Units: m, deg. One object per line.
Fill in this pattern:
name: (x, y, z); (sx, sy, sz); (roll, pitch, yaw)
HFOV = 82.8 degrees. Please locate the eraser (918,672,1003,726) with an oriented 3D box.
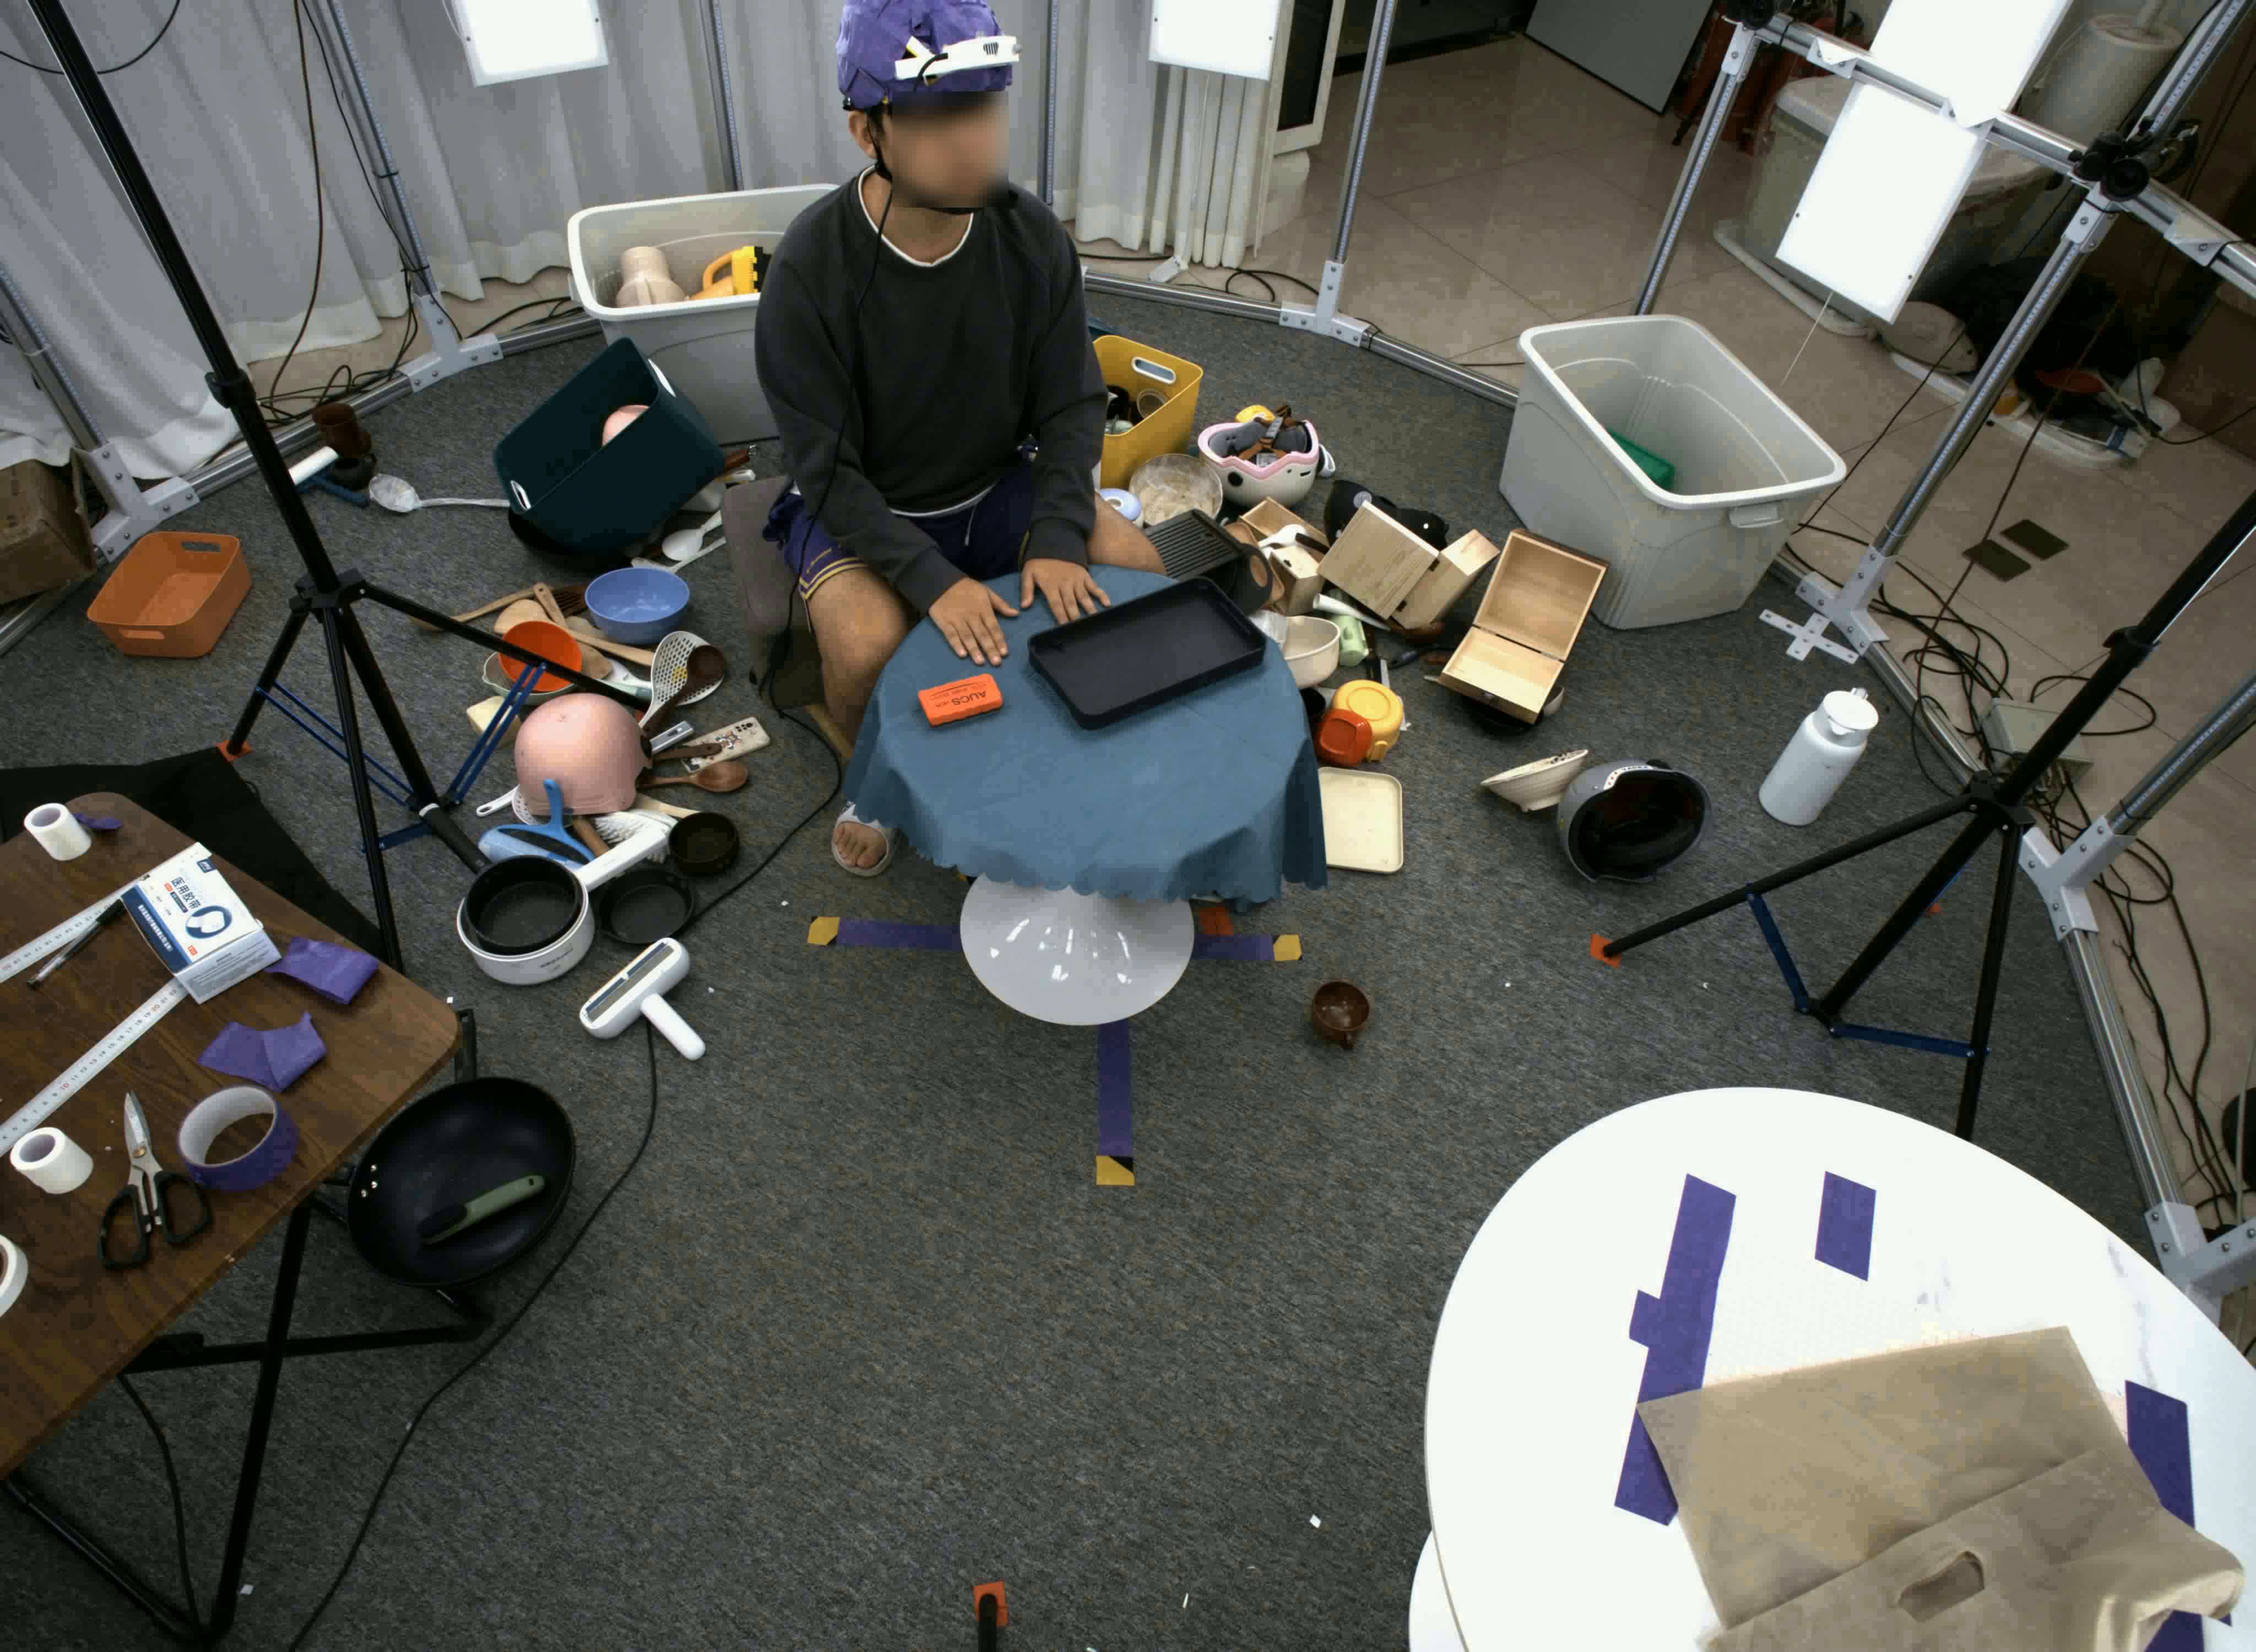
eraser: (-0.232, -0.177, 1.784); (0.108, 0.022, 0.060); (-19, 47, -17)

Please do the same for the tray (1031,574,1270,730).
tray: (0.034, -0.258, 1.871); (0.319, 0.036, 0.188); (-25, 54, -23)
